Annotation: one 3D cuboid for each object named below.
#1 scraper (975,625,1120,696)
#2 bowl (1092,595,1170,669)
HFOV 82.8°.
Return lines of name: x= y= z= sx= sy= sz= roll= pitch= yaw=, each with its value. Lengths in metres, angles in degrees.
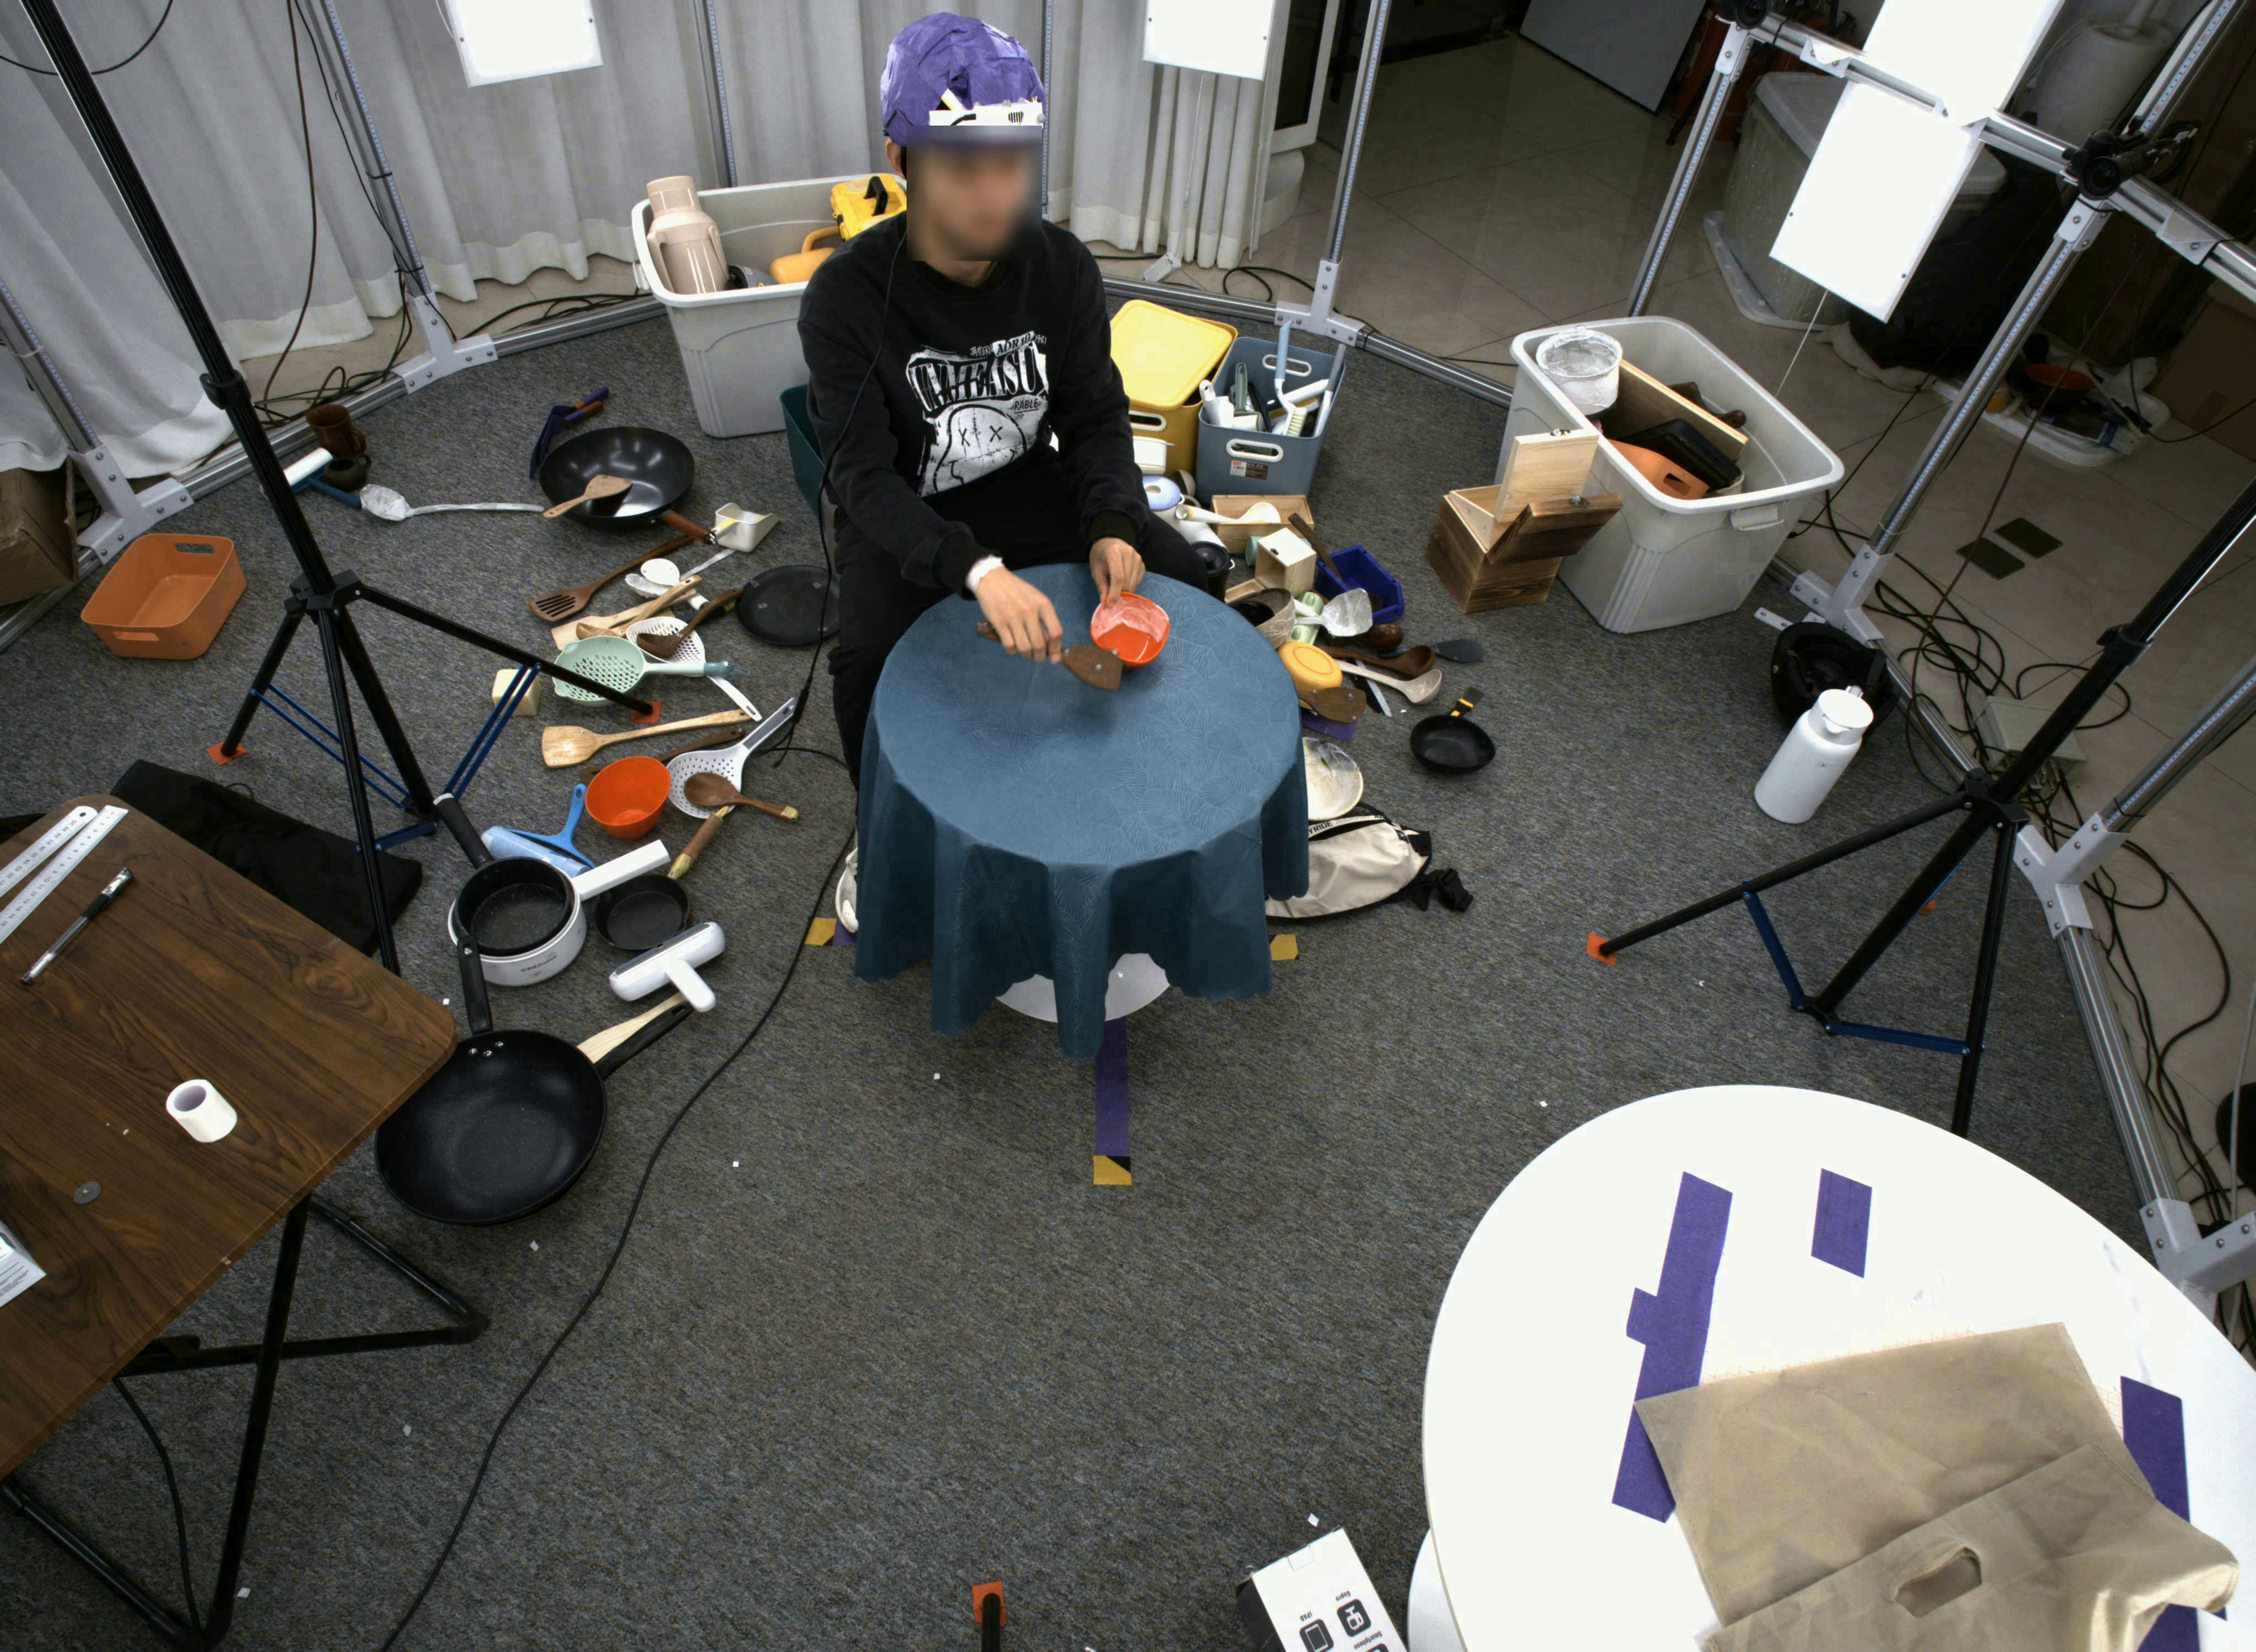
scraper: x=-0.110 y=-0.234 z=1.768 sx=0.210 sy=0.010 sz=0.078 roll=17 pitch=47 yaw=-16
bowl: x=0.001 y=-0.276 z=1.880 sx=0.118 sy=0.050 sz=0.121 roll=4 pitch=66 yaw=-9
